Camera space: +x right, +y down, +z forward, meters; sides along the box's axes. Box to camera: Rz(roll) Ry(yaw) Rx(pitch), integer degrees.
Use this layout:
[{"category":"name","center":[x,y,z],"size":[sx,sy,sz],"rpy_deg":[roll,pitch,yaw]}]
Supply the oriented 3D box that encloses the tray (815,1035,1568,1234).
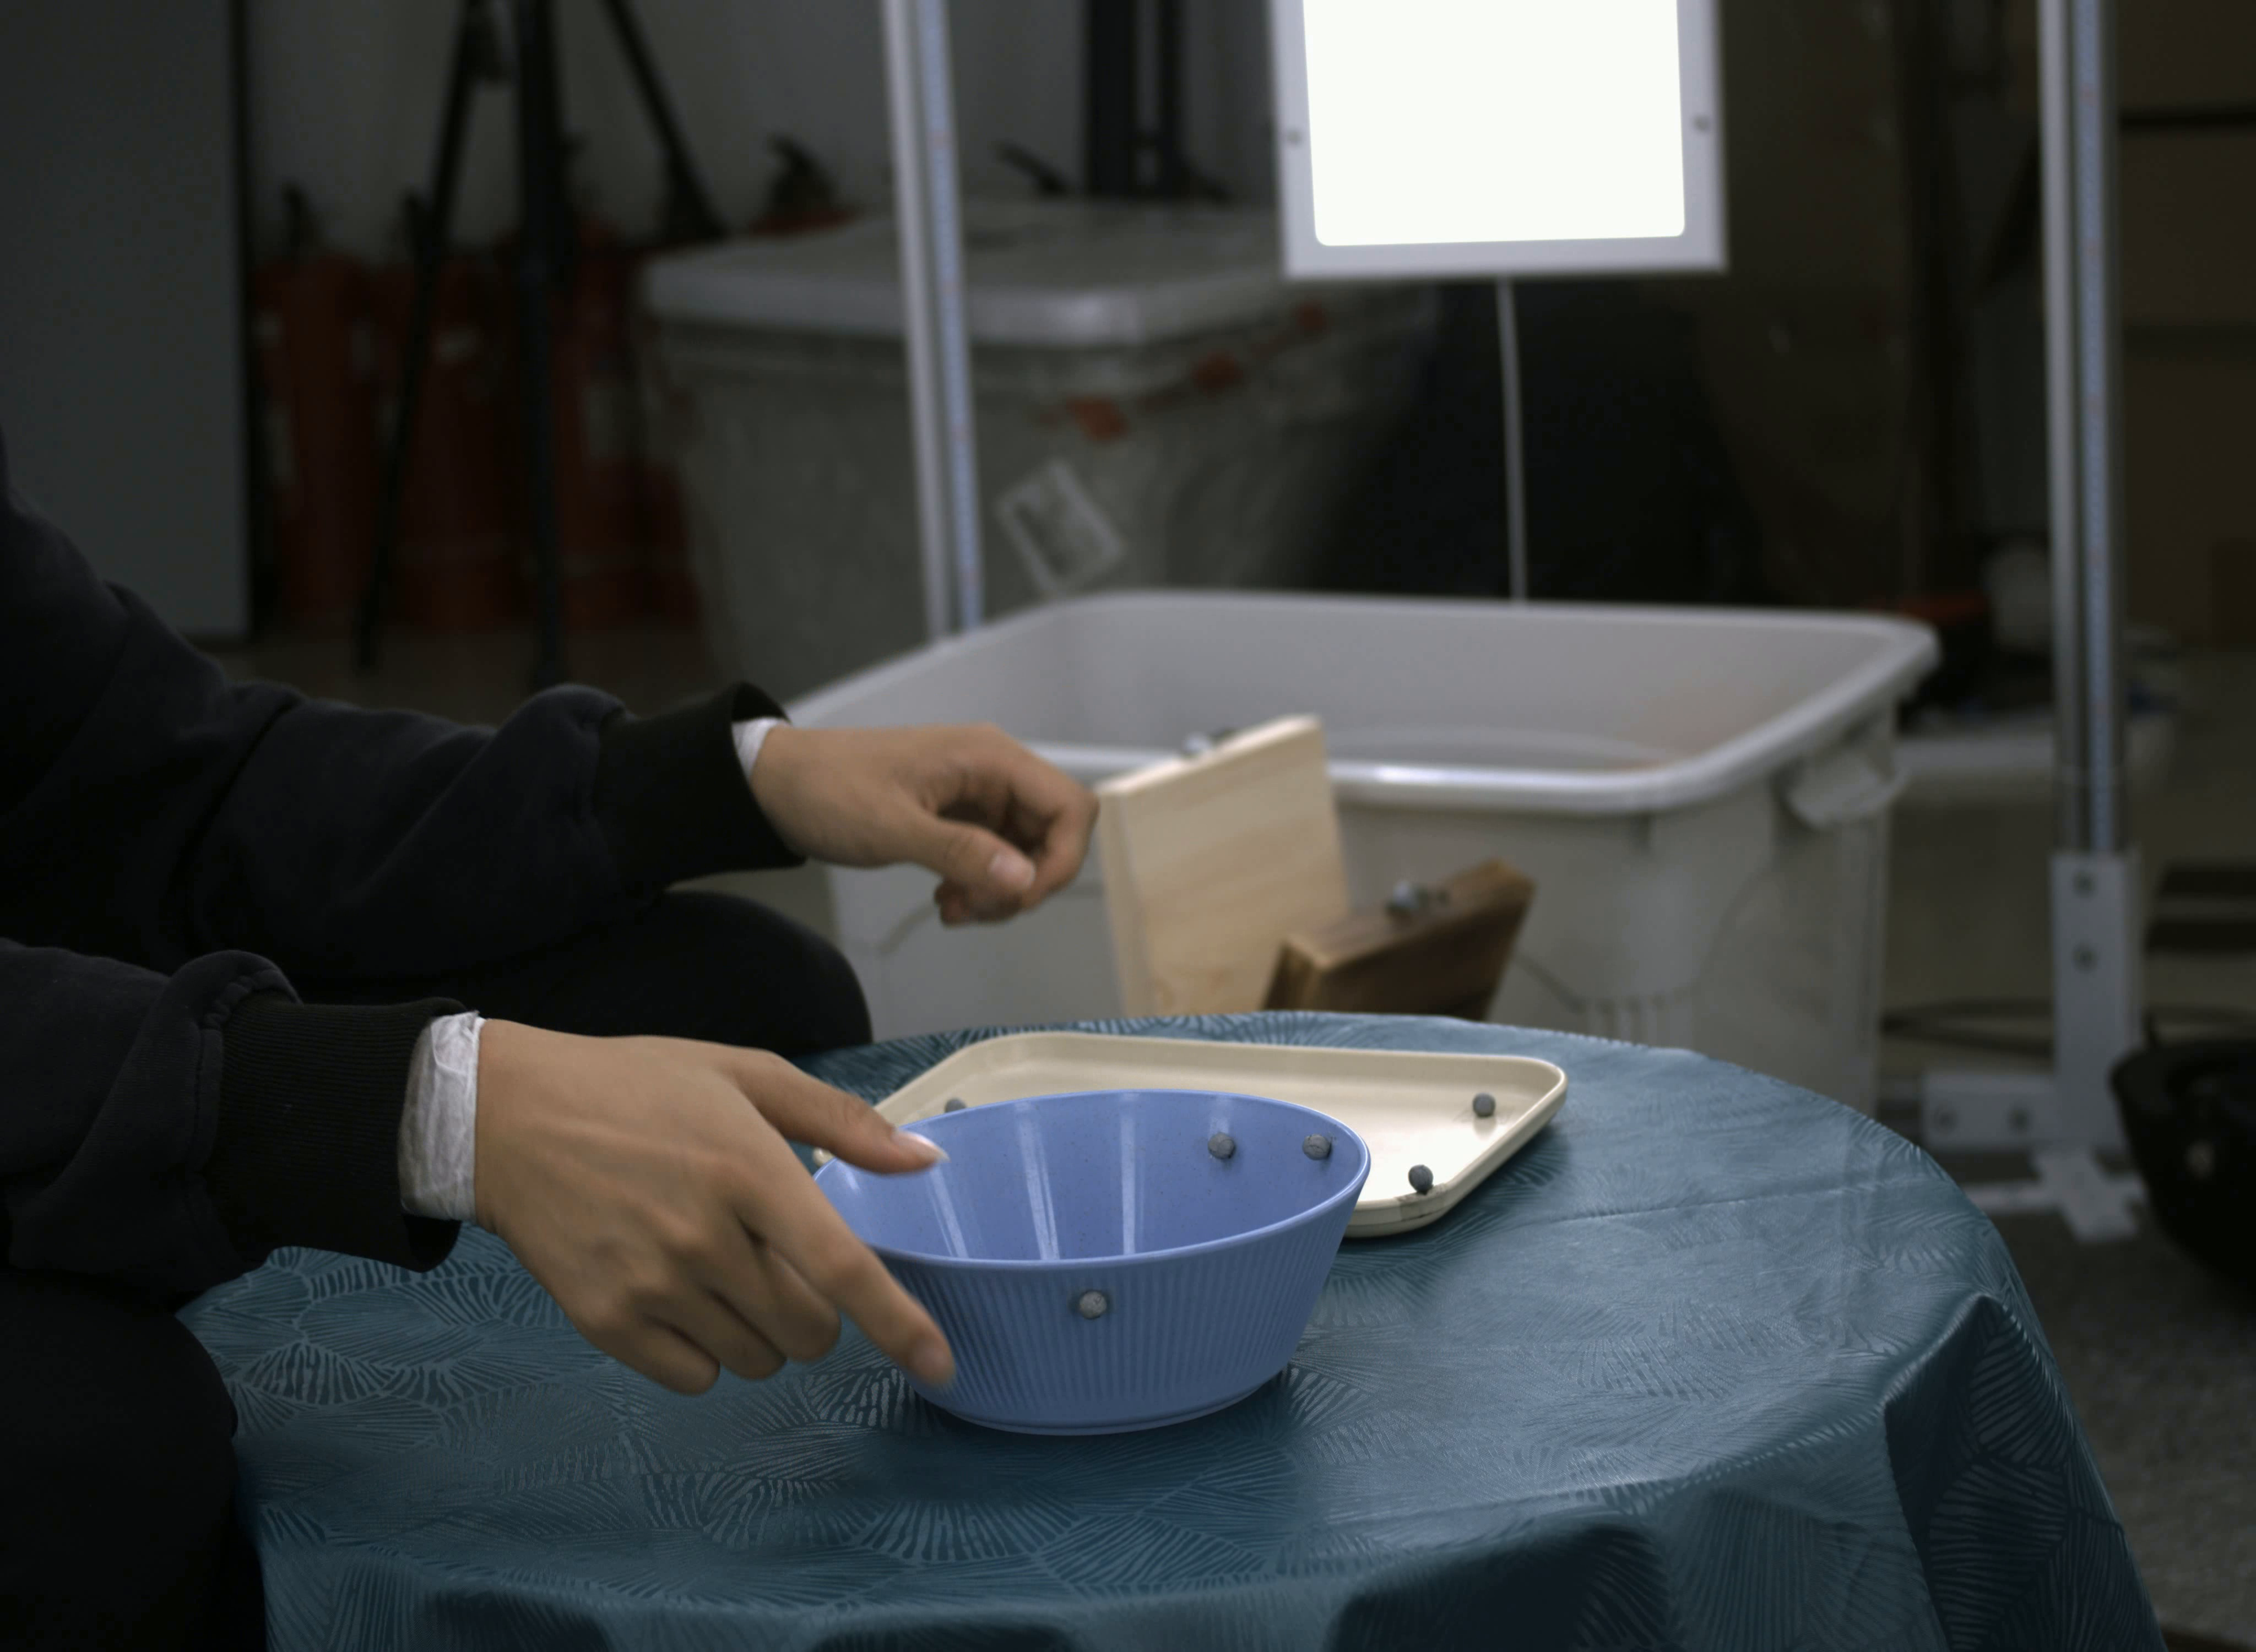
[{"category":"tray","center":[0.024,0.108,1.928],"size":[0.244,0.017,0.168],"rpy_deg":[2,15,26]}]

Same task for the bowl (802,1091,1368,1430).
[{"category":"bowl","center":[-0.012,0.137,1.708],"size":[0.175,0.070,0.176],"rpy_deg":[-4,14,0]}]
